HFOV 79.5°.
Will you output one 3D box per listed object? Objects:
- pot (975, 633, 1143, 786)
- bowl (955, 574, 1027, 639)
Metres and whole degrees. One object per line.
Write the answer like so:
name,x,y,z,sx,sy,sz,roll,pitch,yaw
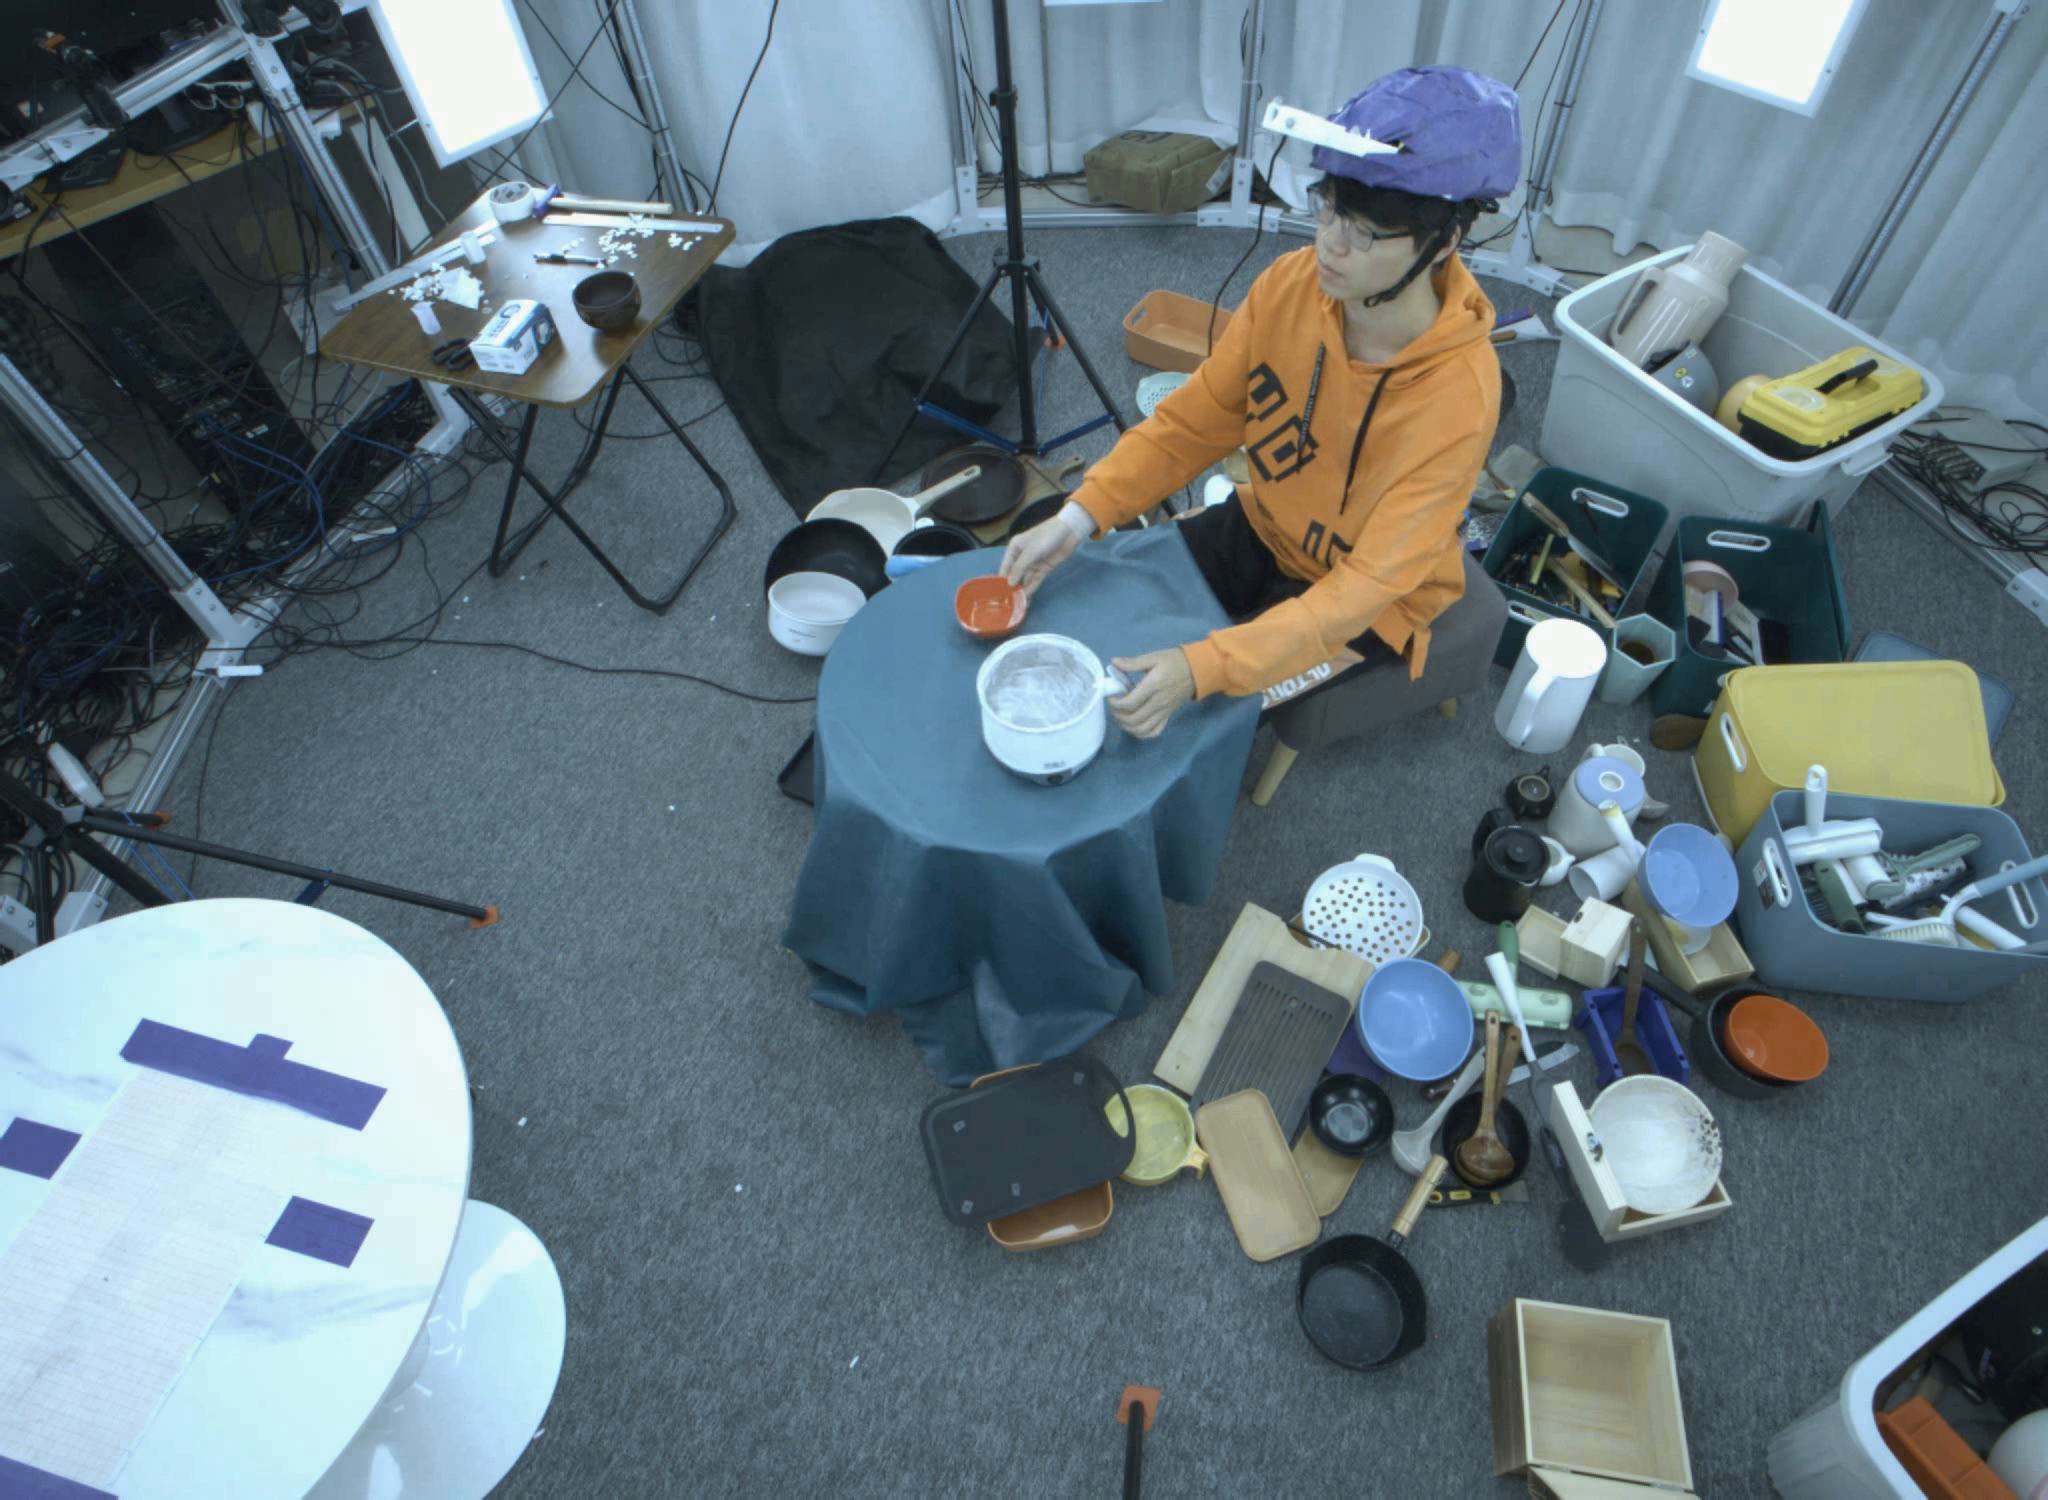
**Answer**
pot,0.053,-0.062,1.744,0.234,0.138,0.176,-11,55,-5
bowl,-0.050,-0.215,1.906,0.119,0.052,0.118,0,58,1
